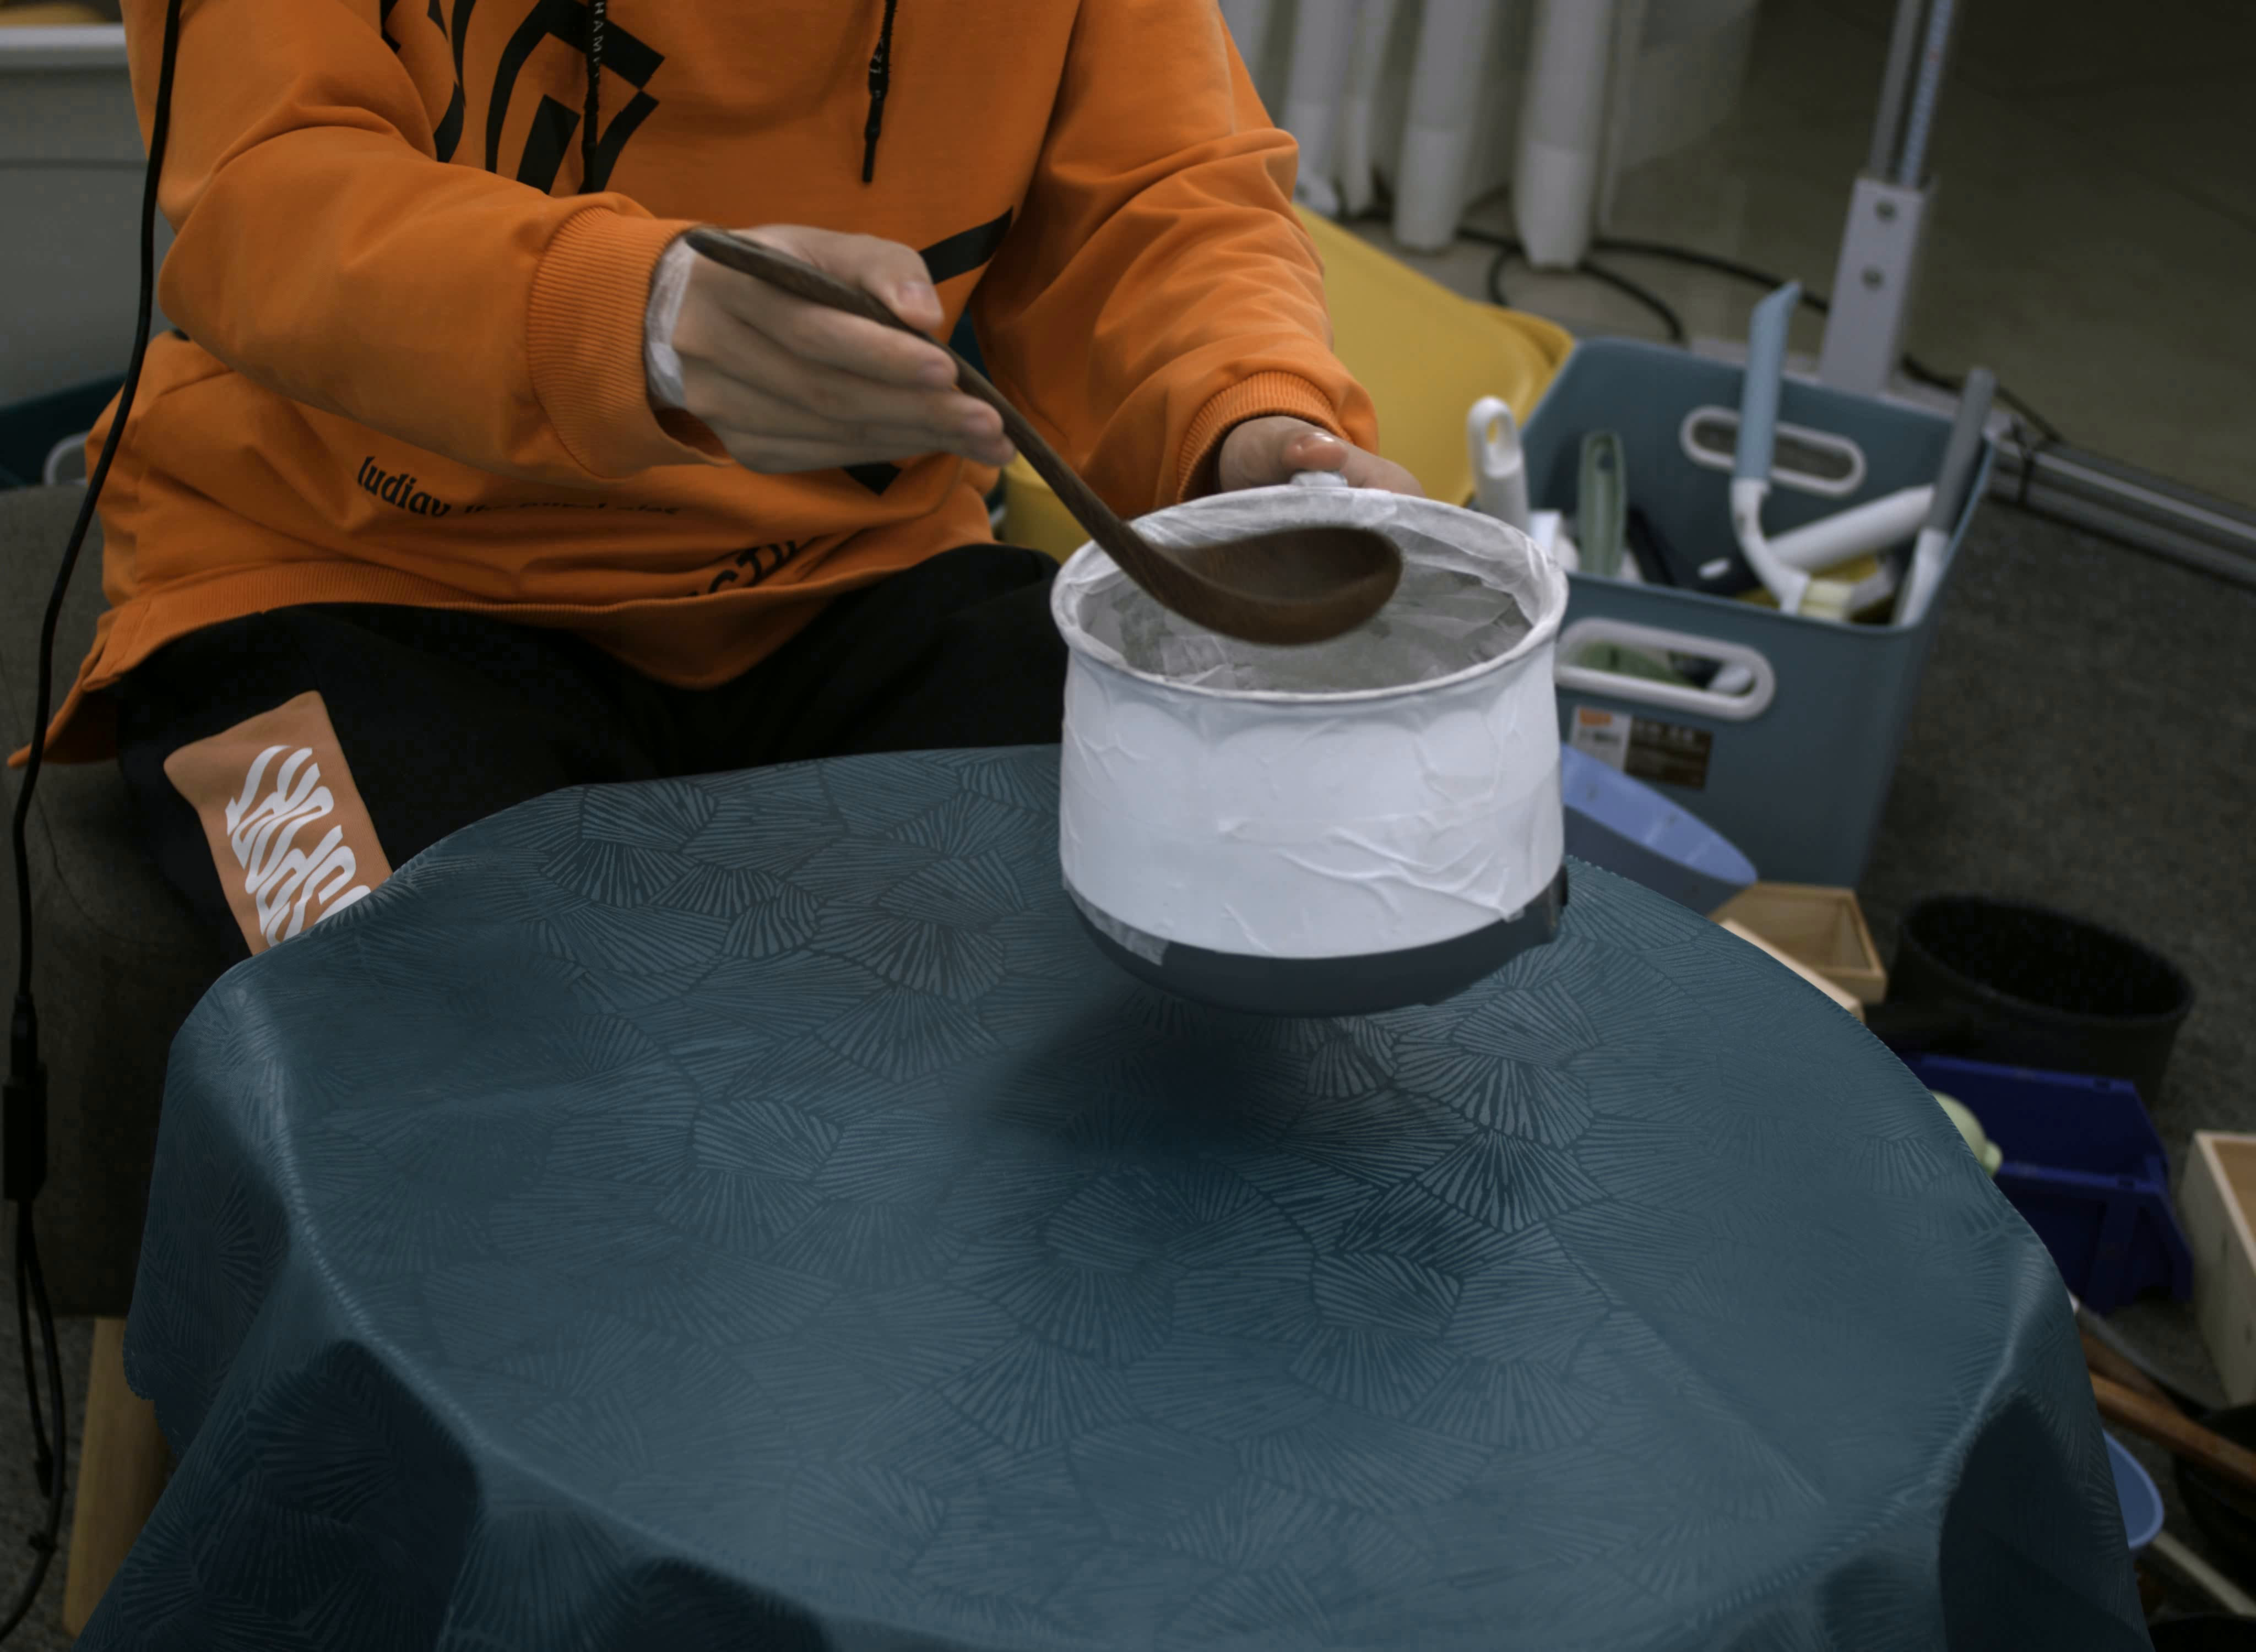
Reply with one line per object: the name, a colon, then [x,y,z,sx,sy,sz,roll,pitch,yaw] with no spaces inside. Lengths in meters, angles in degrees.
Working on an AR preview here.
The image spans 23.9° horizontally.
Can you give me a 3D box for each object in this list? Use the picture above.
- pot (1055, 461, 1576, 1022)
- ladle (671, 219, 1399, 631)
pot: [0.066,-0.036,1.862,0.178,0.136,0.235,0,27,2]
ladle: [-0.025,-0.146,1.756,0.272,0.071,0.076,36,1,-25]
